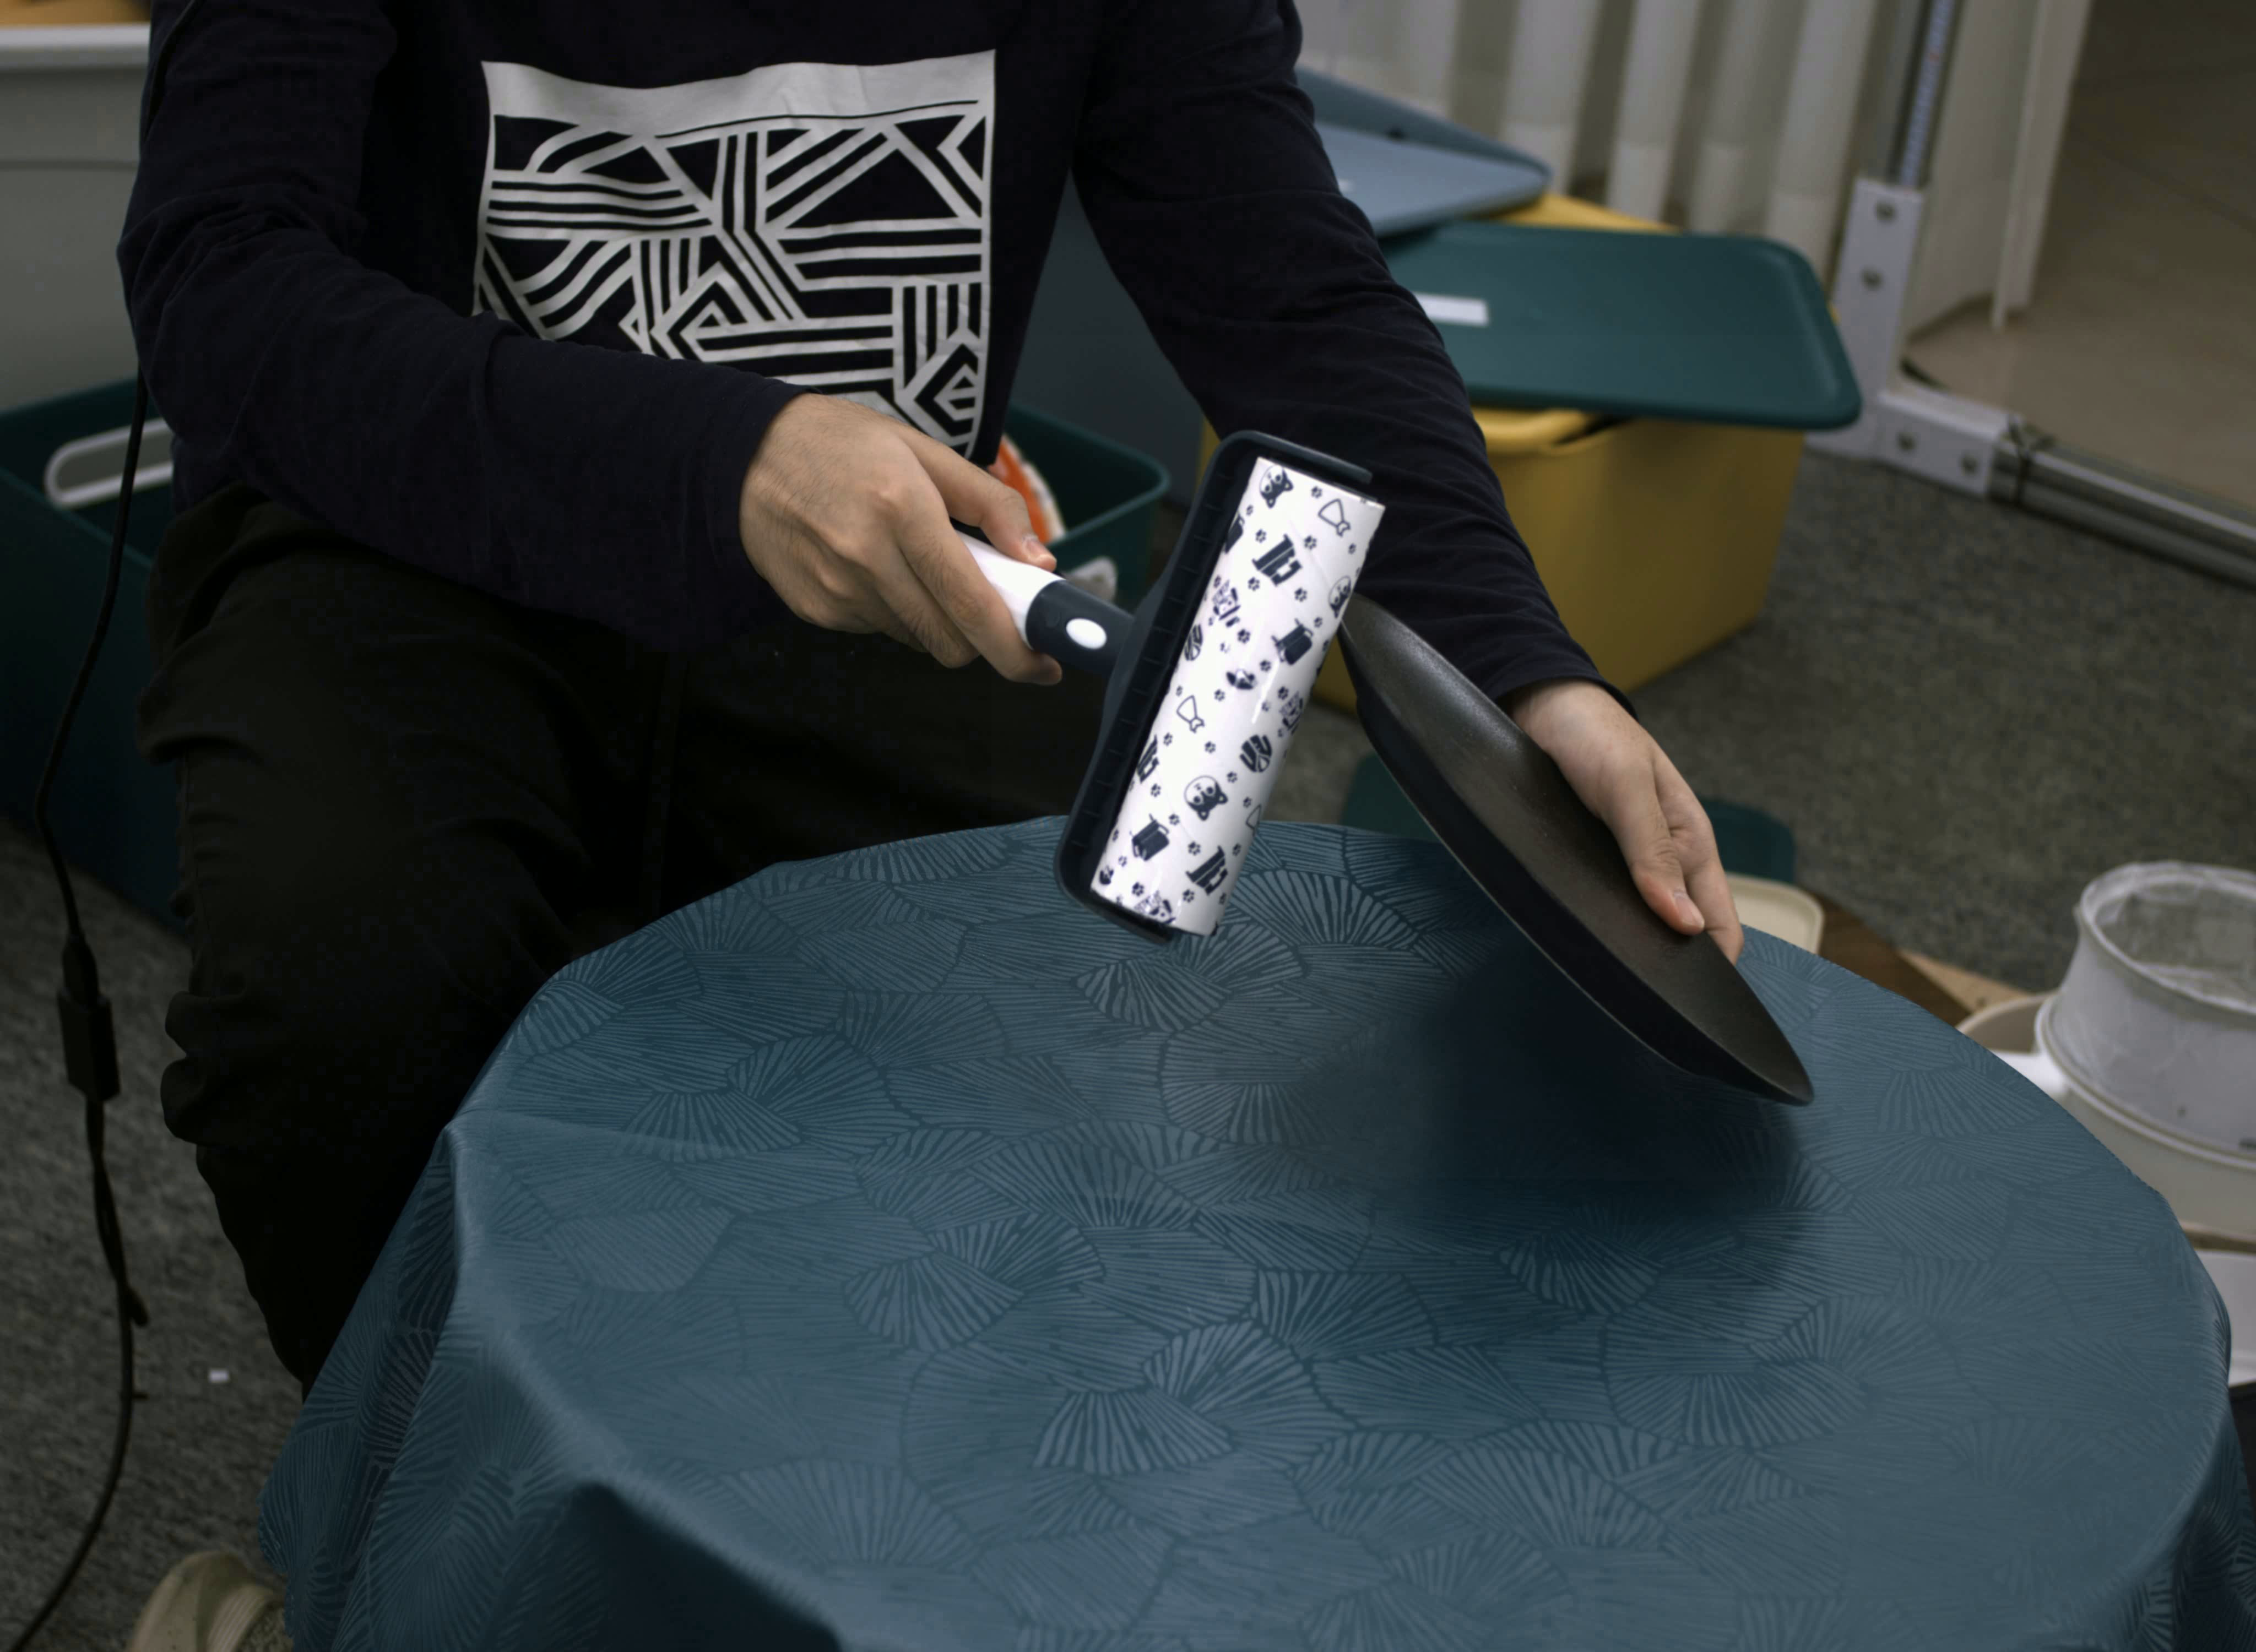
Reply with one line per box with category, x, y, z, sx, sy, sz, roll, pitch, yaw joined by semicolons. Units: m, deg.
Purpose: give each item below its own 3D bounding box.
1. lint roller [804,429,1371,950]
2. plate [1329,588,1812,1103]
lint roller;-0.036;-0.076;1.888;0.249;0.176;0.050;24;6;40
plate;0.148;0.012;1.865;0.243;0.023;0.245;44;11;-12
